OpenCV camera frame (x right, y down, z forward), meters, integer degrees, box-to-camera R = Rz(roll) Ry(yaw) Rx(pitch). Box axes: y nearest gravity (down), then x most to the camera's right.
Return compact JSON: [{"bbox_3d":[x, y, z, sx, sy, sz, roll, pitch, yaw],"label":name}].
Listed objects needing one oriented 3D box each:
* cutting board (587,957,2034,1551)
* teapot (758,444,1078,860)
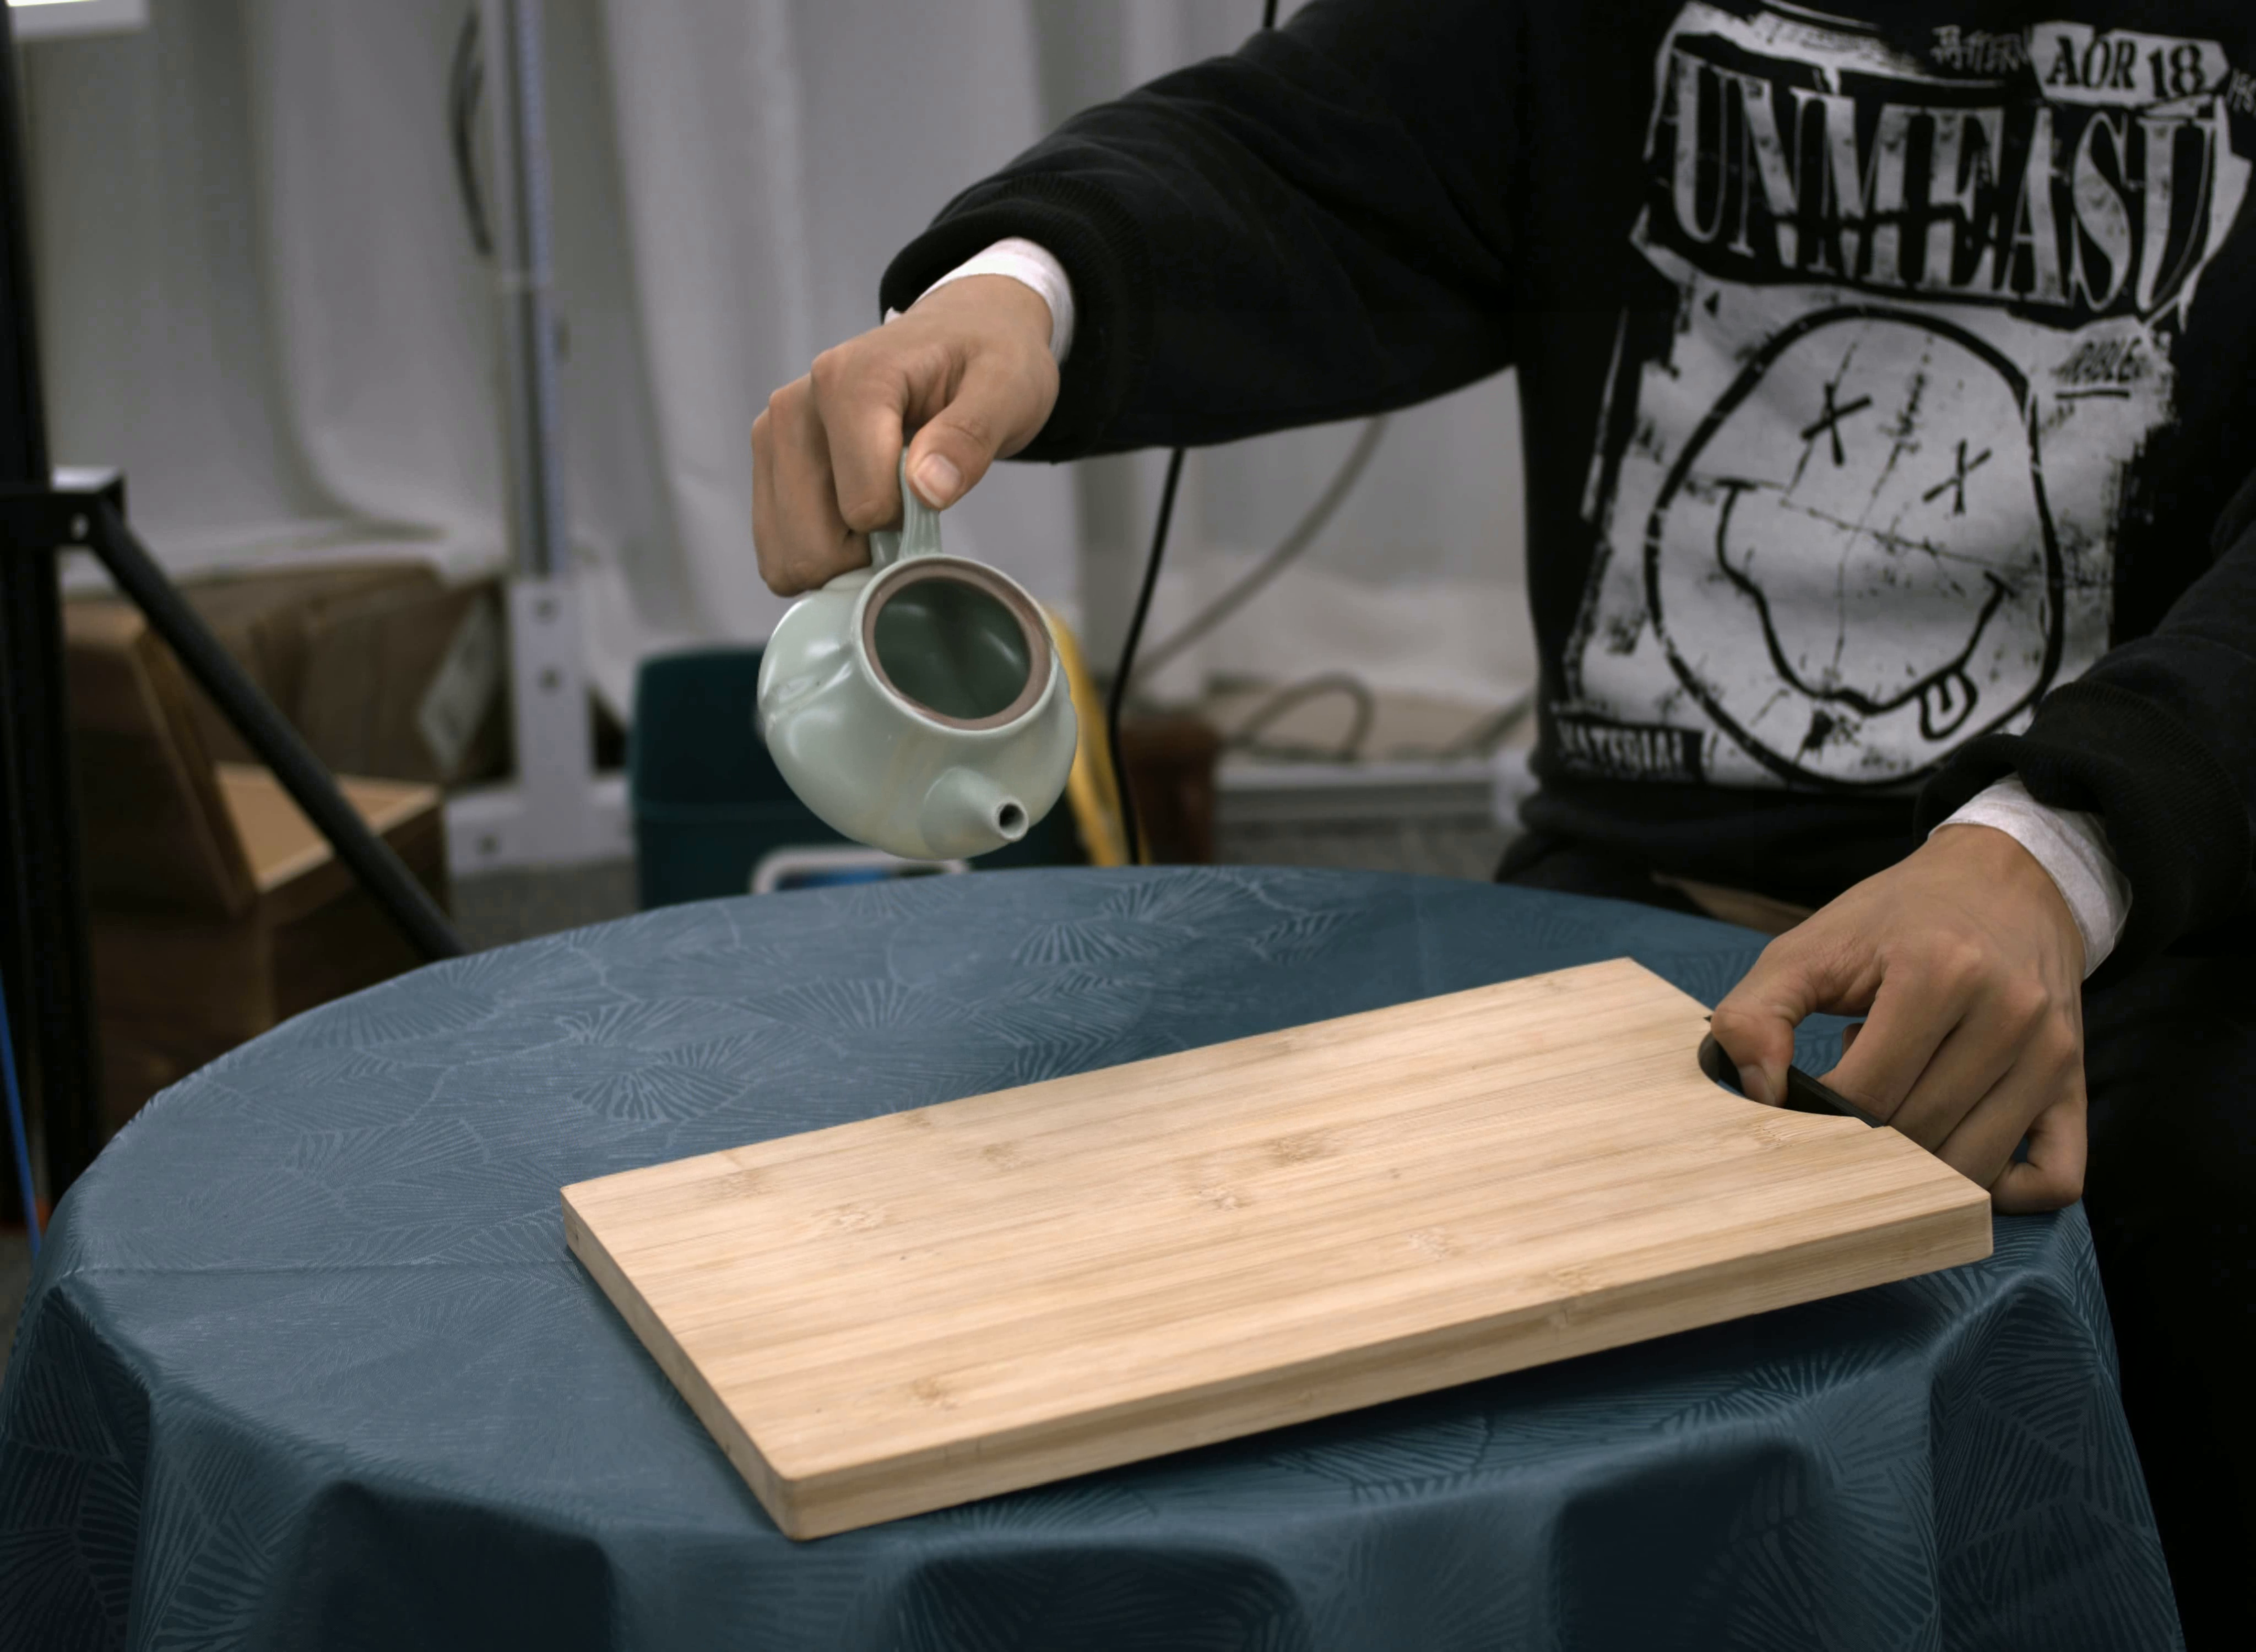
[{"bbox_3d":[0.040,0.110,1.470,0.343,0.023,0.255,-12,18,-16],"label":"cutting board"},{"bbox_3d":[-0.058,-0.044,1.549,0.094,0.139,0.062,-7,-27,-23],"label":"teapot"}]
